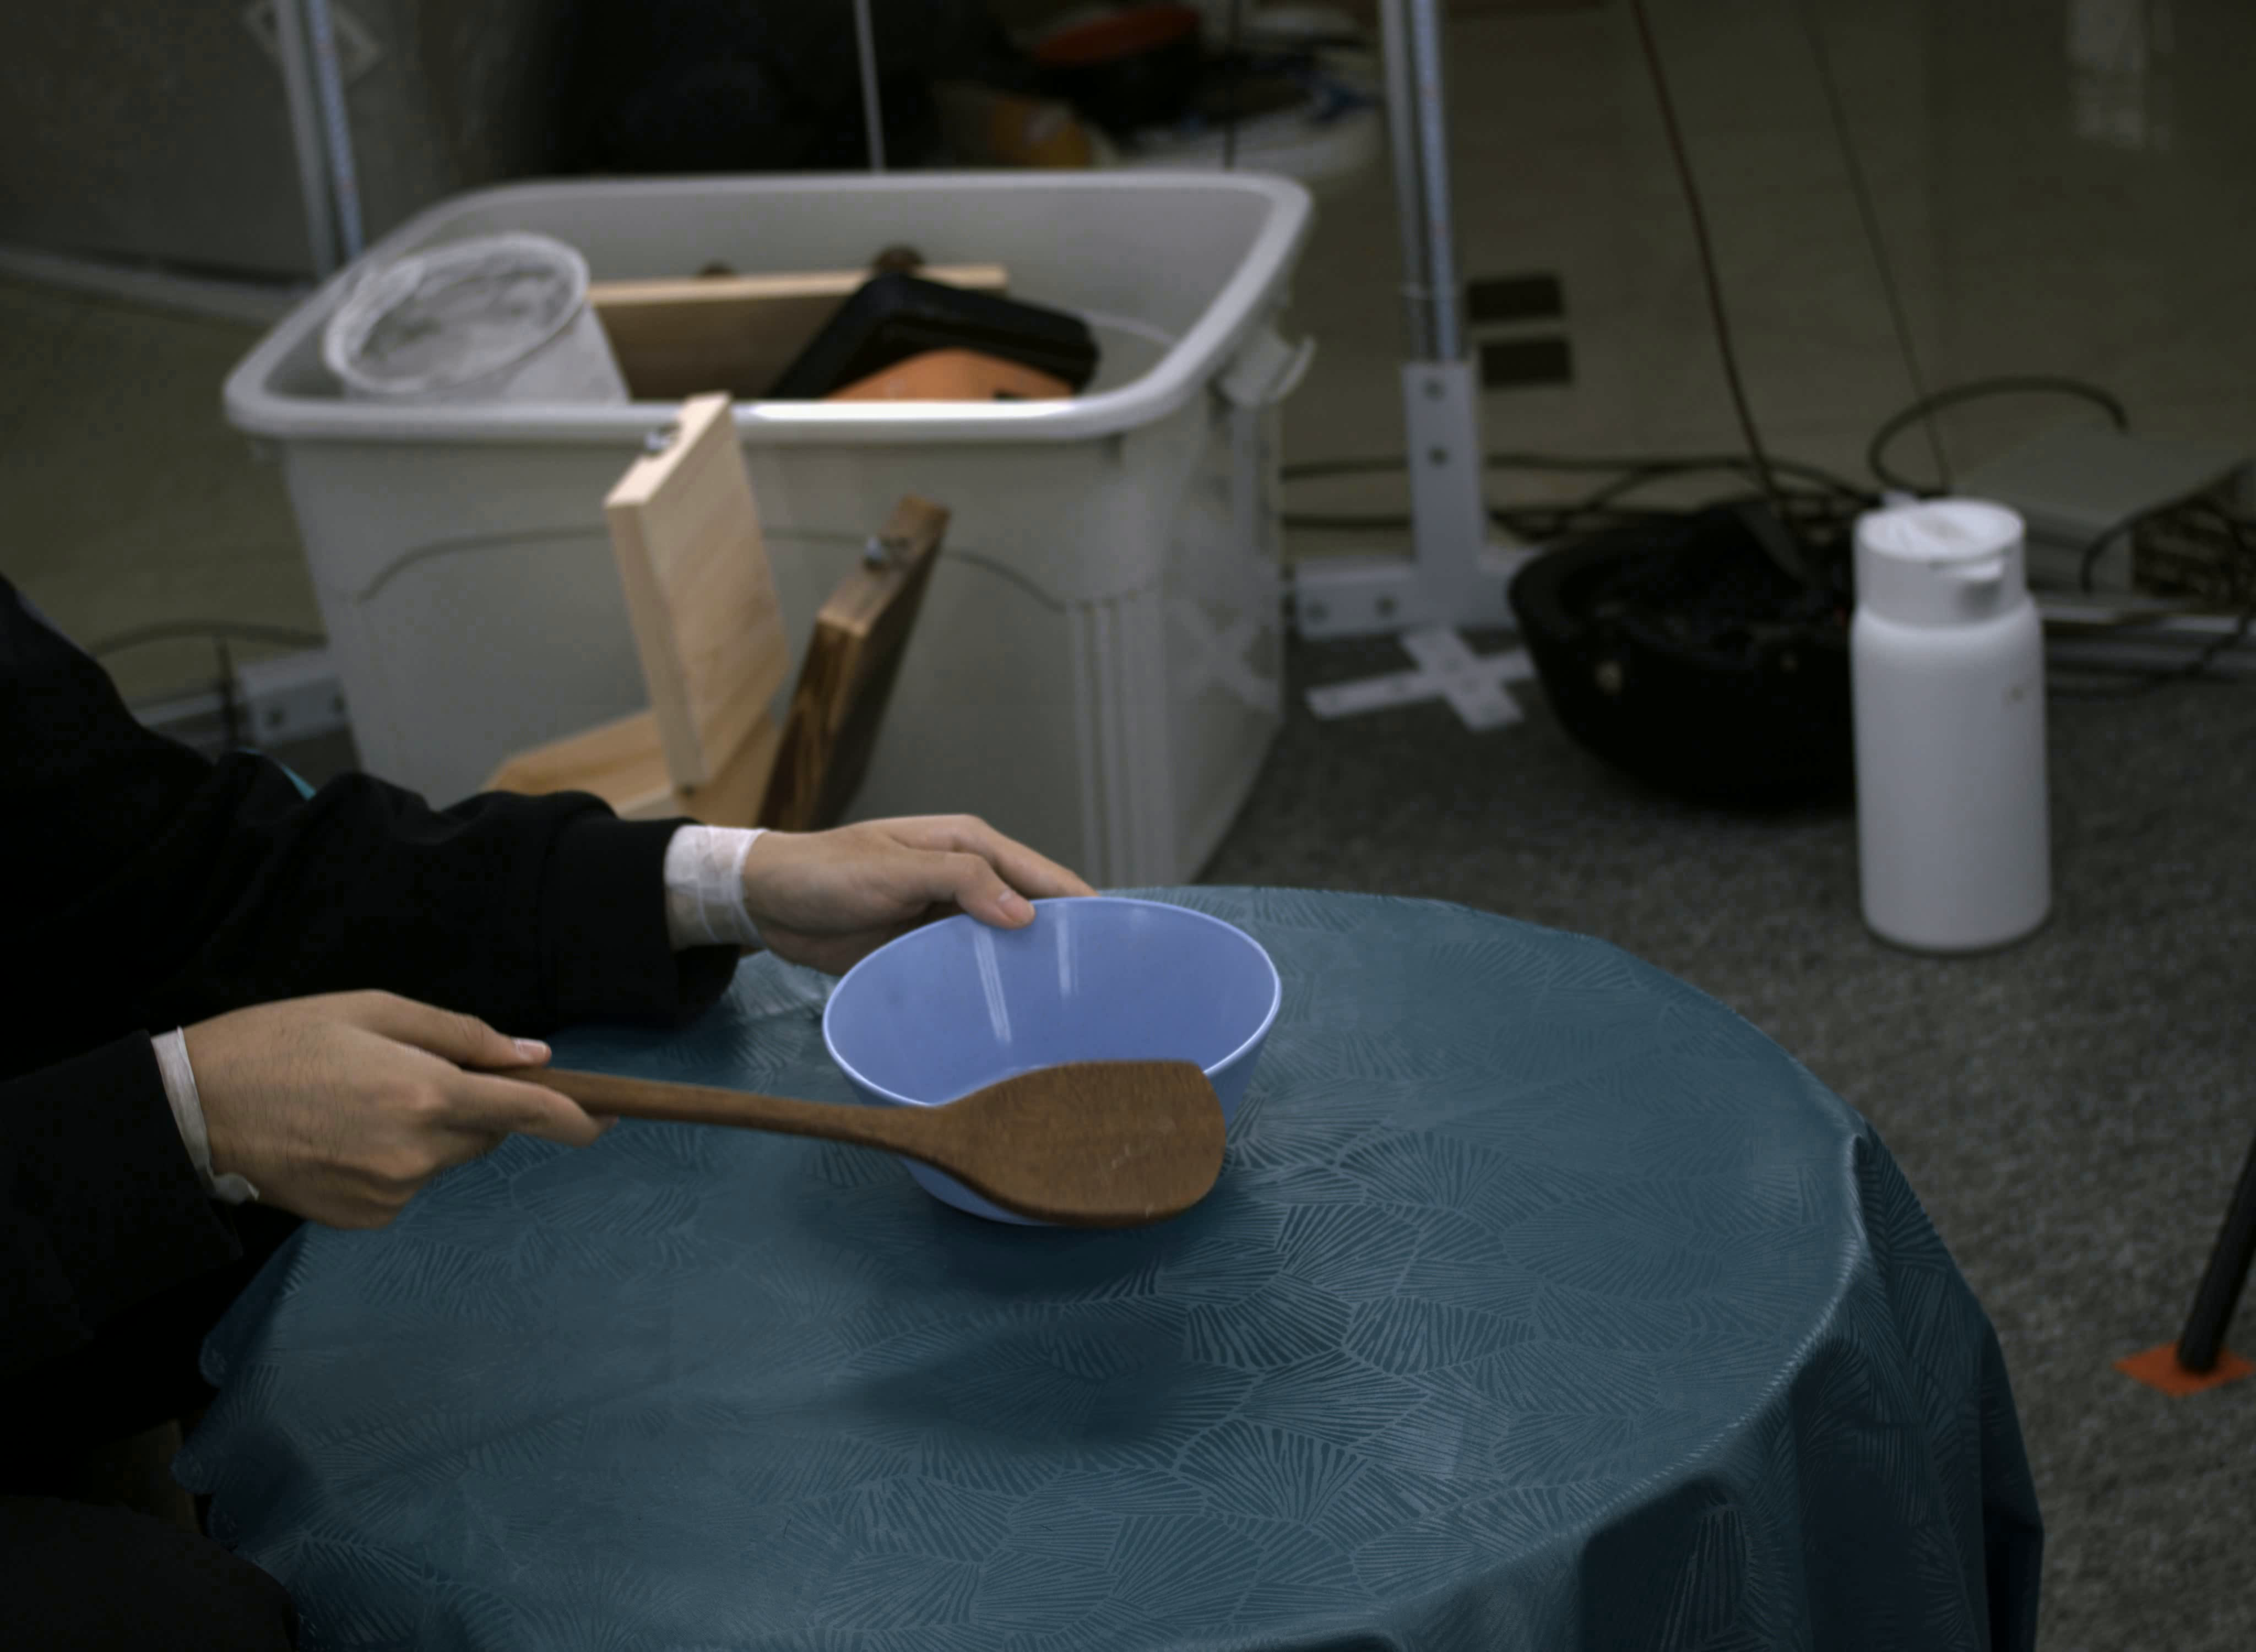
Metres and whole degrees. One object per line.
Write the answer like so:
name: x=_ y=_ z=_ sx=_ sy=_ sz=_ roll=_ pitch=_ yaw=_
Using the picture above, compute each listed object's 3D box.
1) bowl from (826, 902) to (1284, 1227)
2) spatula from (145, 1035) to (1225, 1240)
bowl: x=-0.025 y=0.097 z=2.163 sx=0.176 sy=0.071 sz=0.173 roll=-5 pitch=26 yaw=3
spatula: x=-0.157 y=0.102 z=2.011 sx=0.385 sy=0.016 sz=0.094 roll=6 pitch=34 yaw=0
